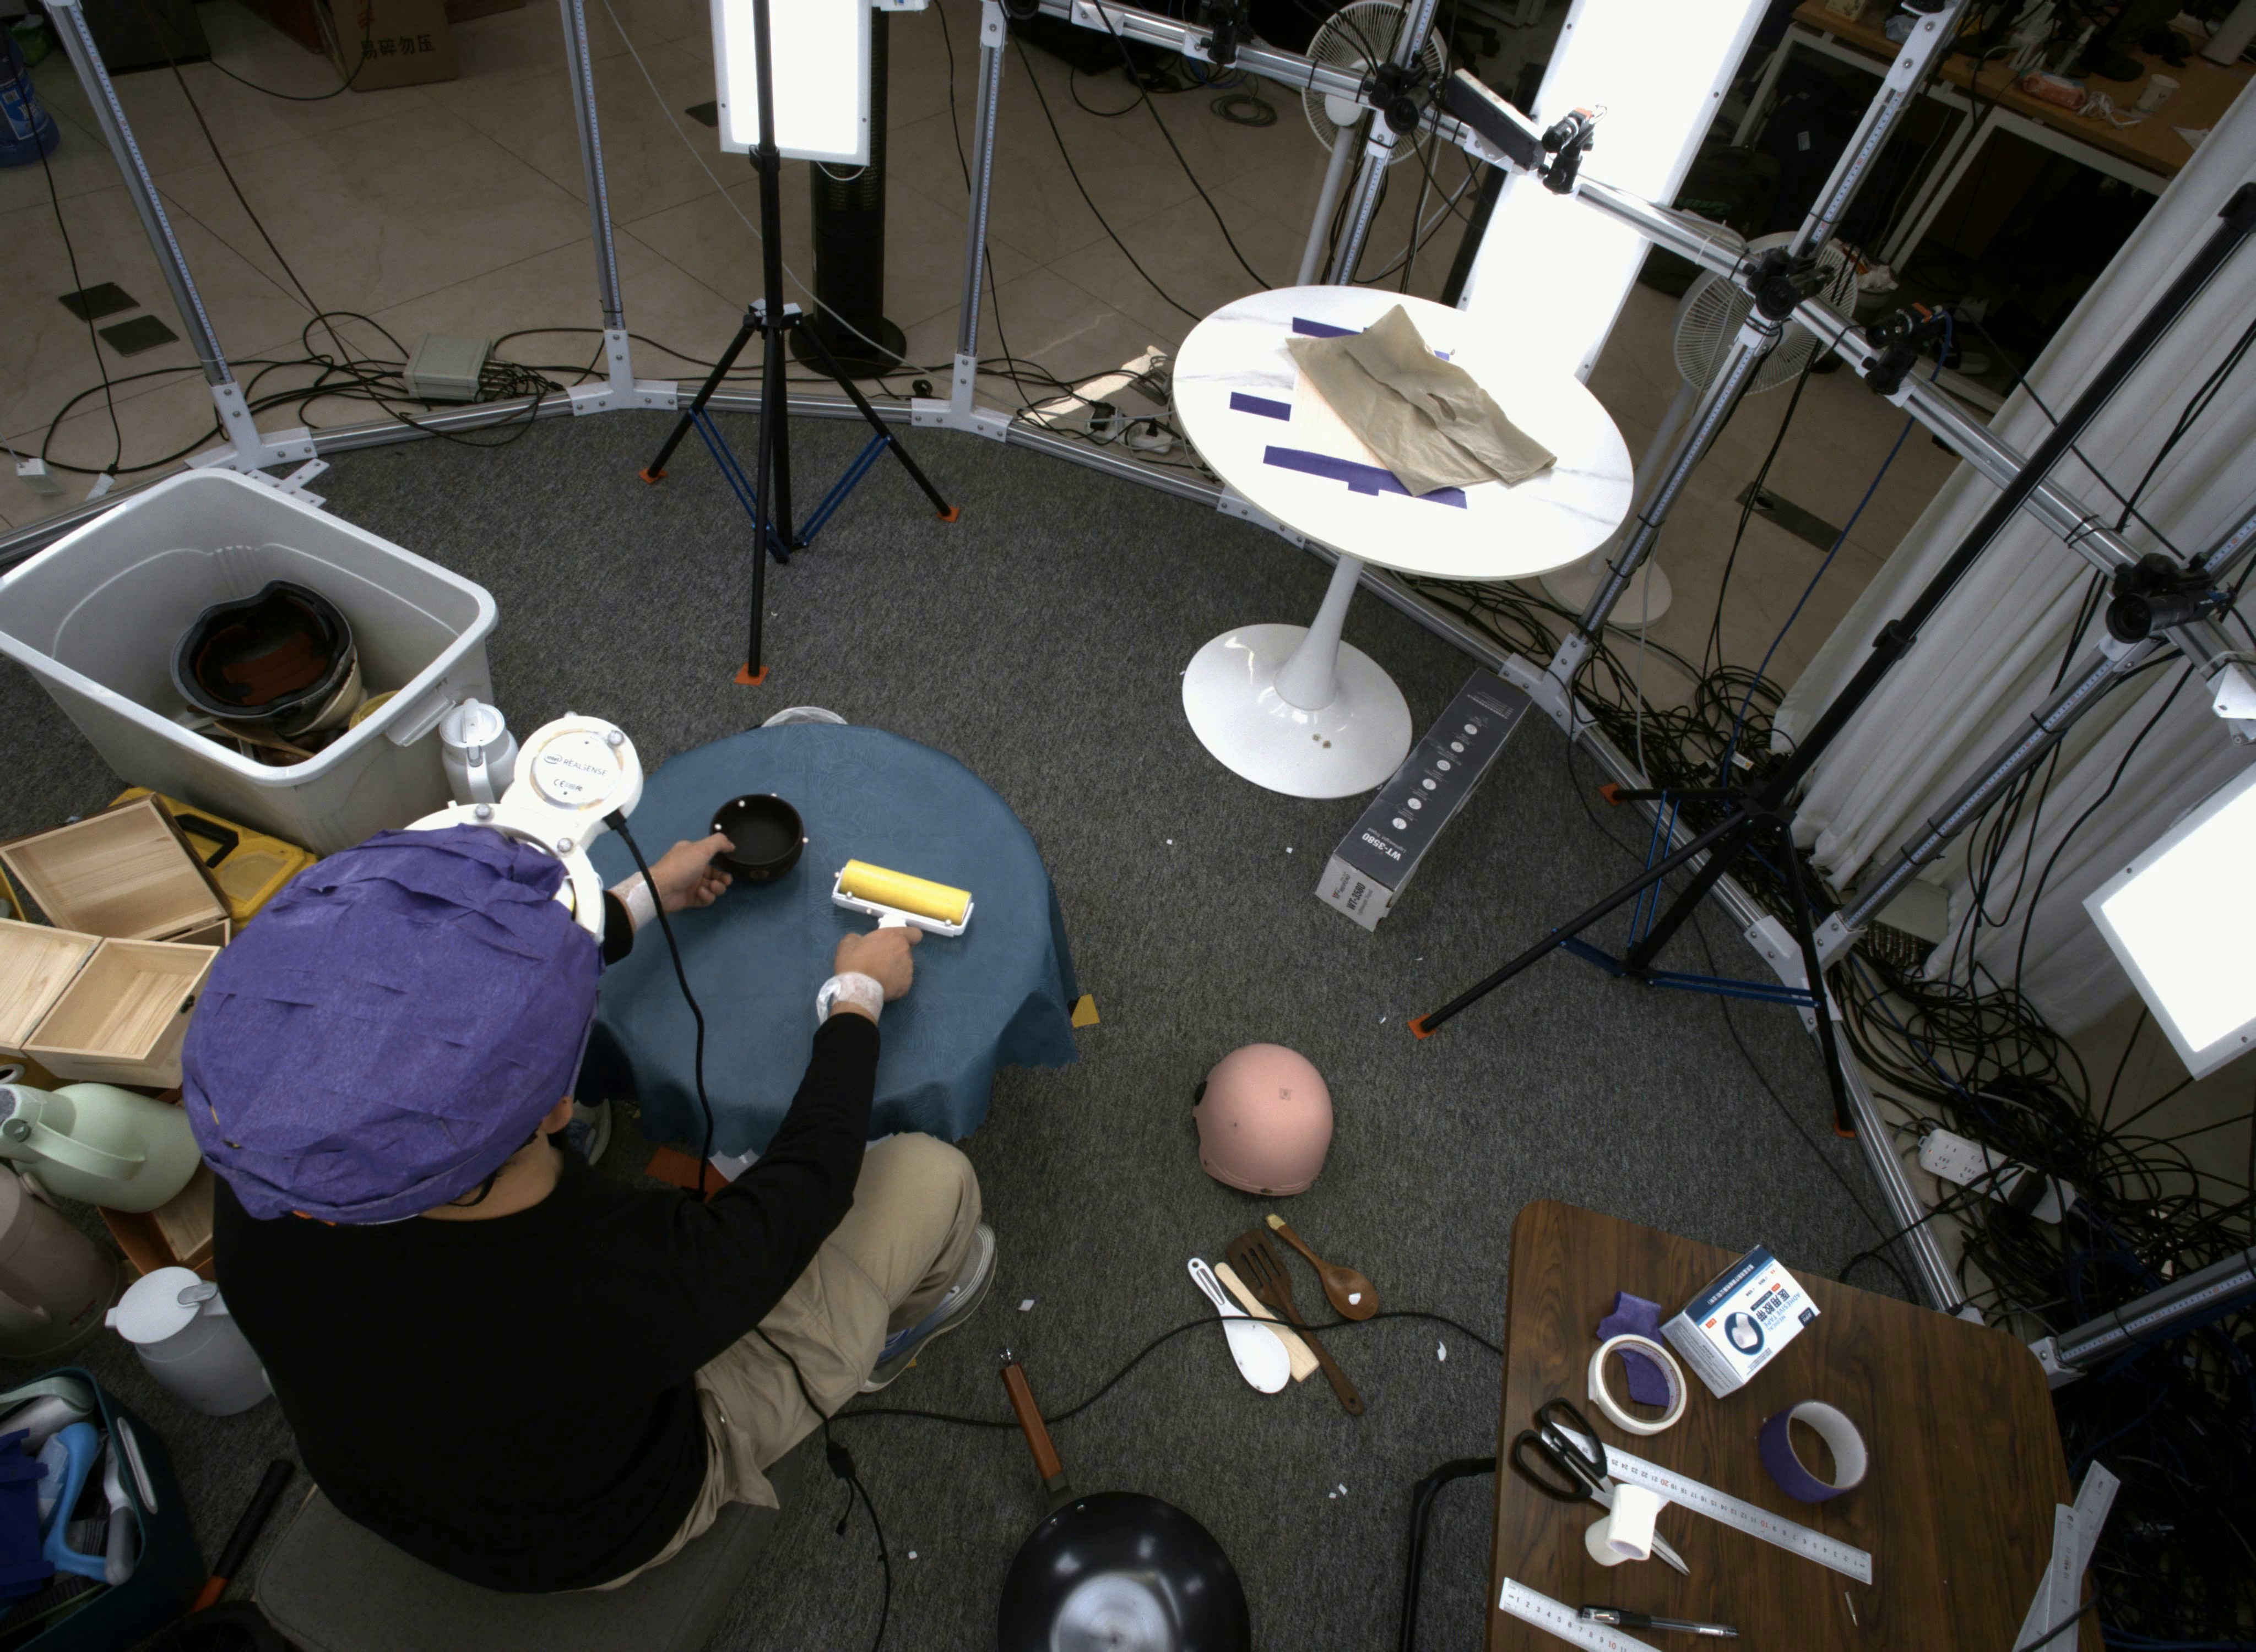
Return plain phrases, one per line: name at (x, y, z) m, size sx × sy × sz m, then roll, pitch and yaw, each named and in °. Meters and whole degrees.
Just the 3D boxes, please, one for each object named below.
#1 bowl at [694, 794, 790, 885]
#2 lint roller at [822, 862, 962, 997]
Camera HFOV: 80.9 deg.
bowl at (-0.487, 0.024, 1.636) m, size 0.118 × 0.071 × 0.116 m, roll 7°, pitch 51°, yaw -8°
lint roller at (-0.306, 0.127, 1.603) m, size 0.173 × 0.052 × 0.188 m, roll 14°, pitch 35°, yaw -4°
